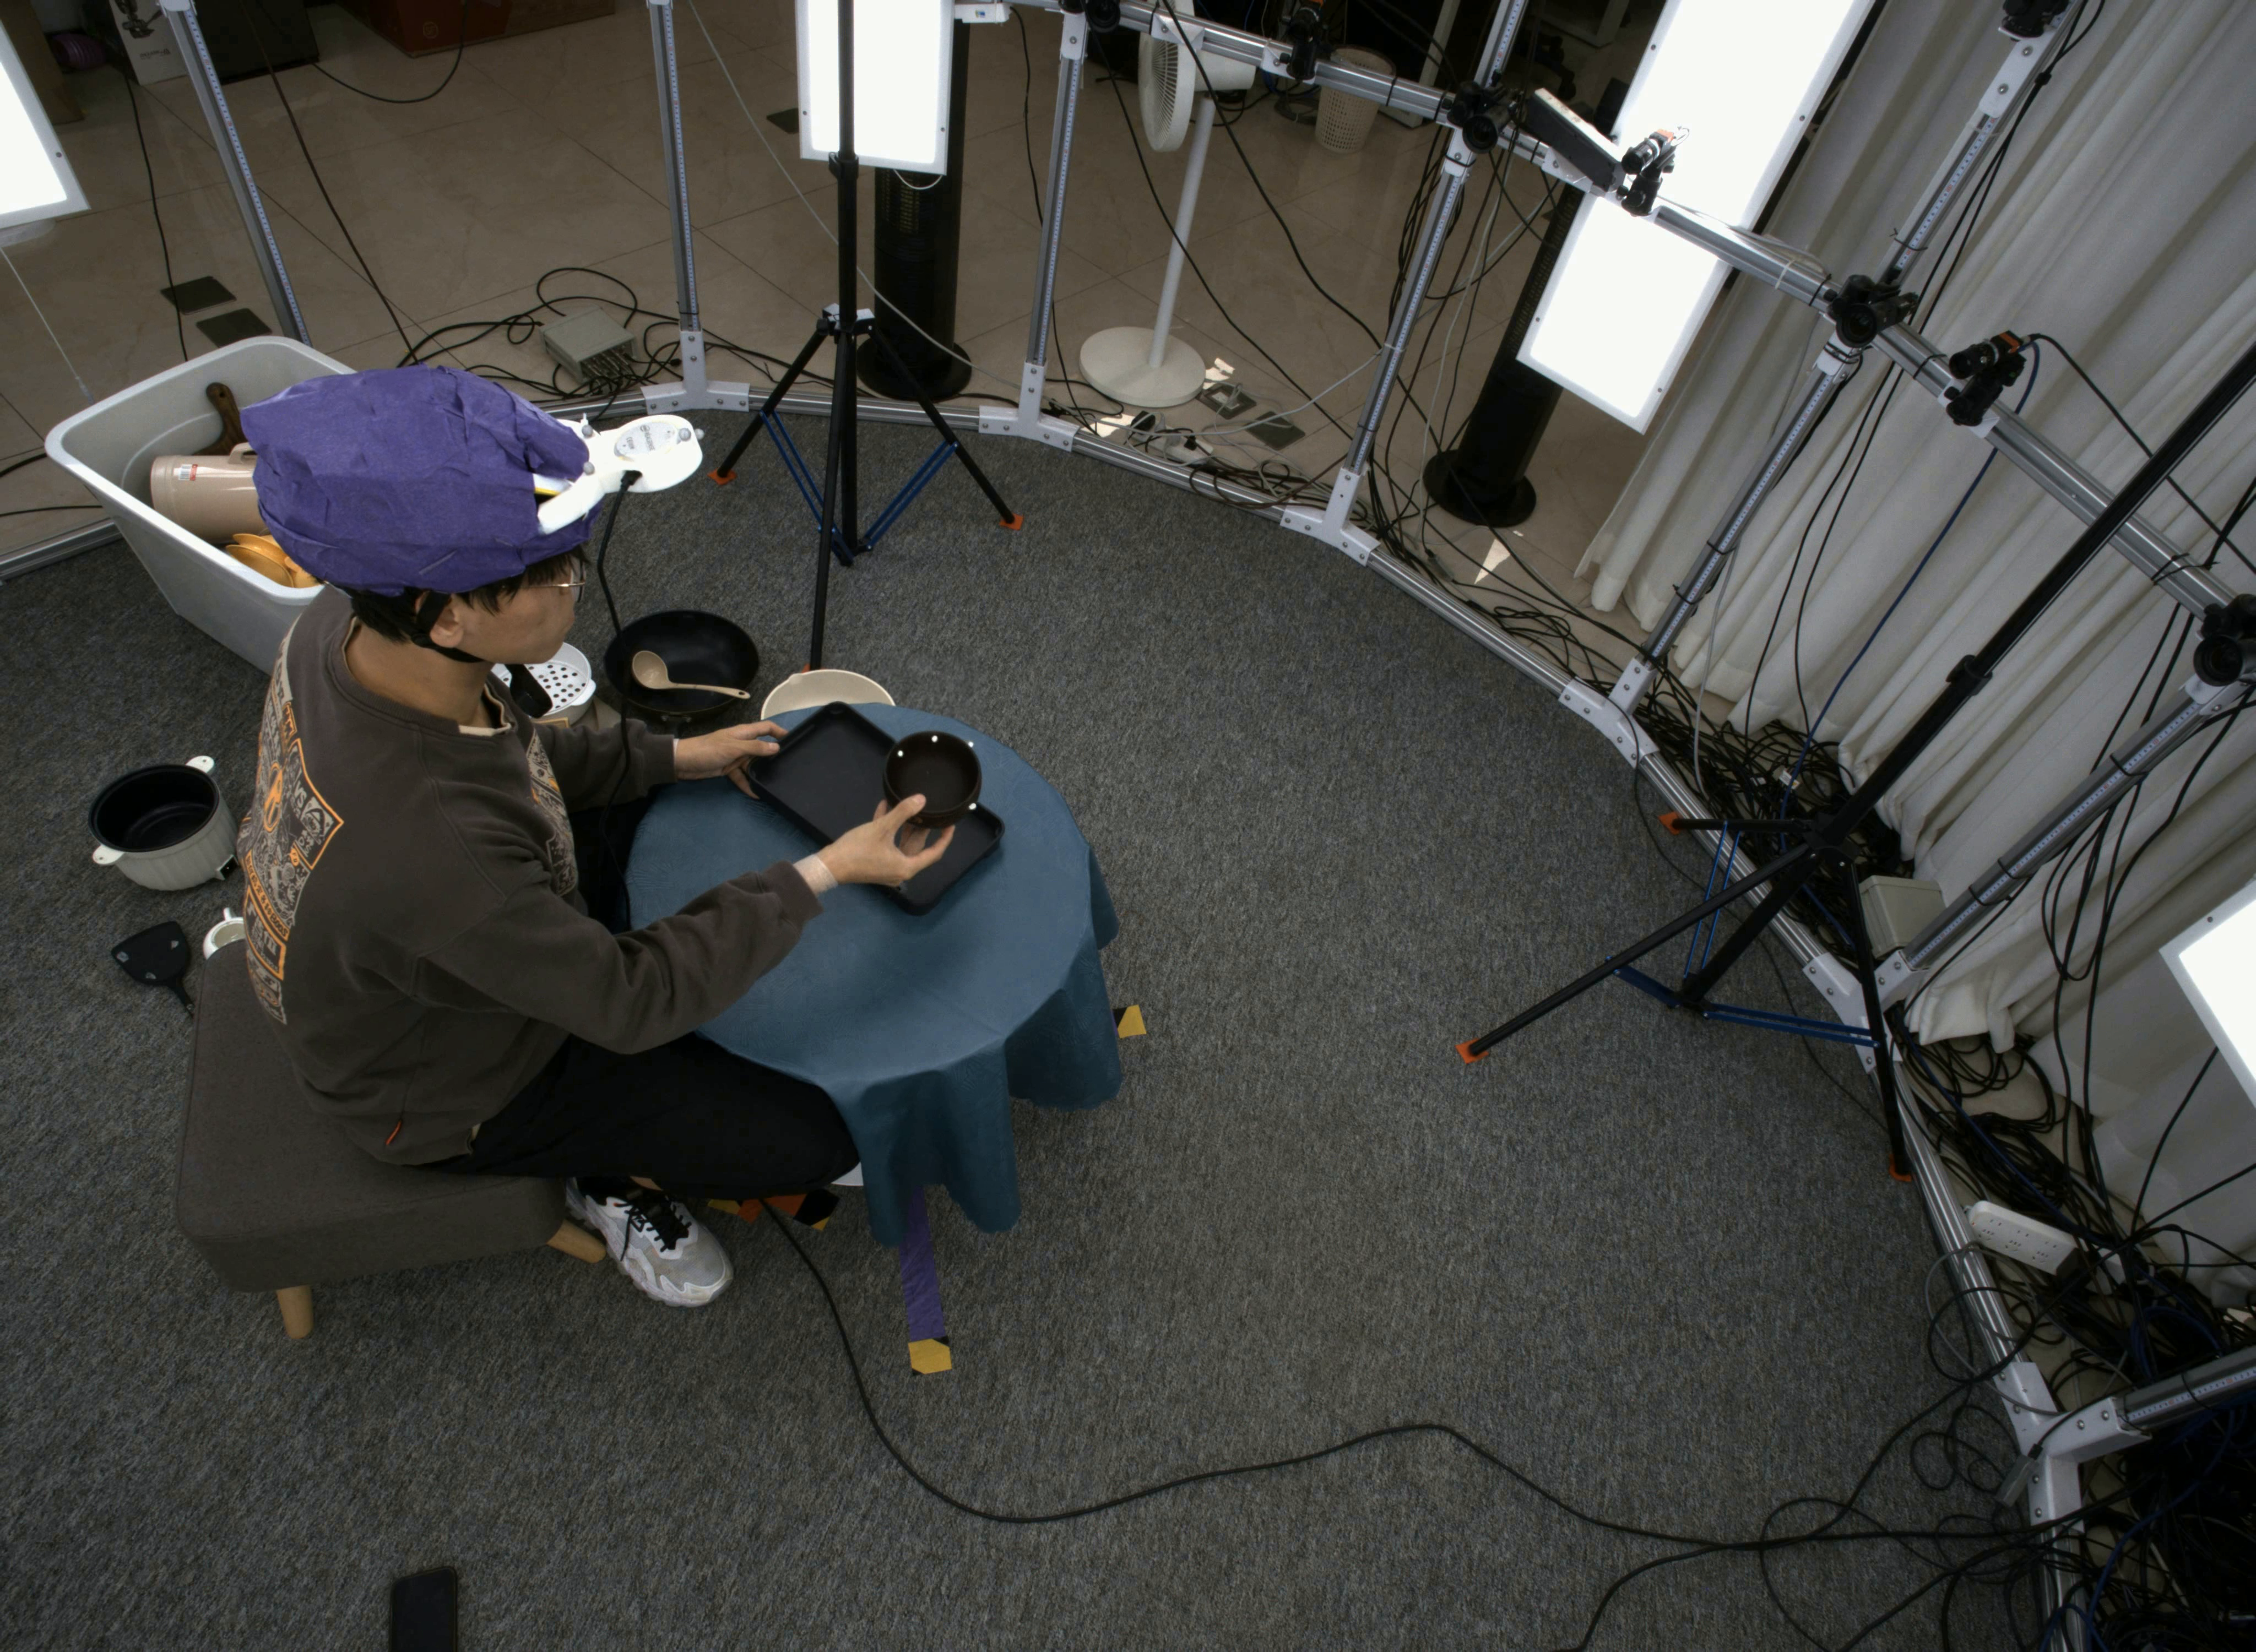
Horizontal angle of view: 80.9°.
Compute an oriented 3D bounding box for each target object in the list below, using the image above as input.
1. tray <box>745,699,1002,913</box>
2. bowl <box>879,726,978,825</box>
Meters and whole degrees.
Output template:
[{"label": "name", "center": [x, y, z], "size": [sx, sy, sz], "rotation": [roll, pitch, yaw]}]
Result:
[{"label": "tray", "center": [-0.341, -0.031, 1.749], "size": [0.313, 0.037, 0.184], "rotation": [35, 55, 8]}, {"label": "bowl", "center": [-0.240, -0.053, 1.568], "size": [0.117, 0.071, 0.116], "rotation": [5, 62, -7]}]
